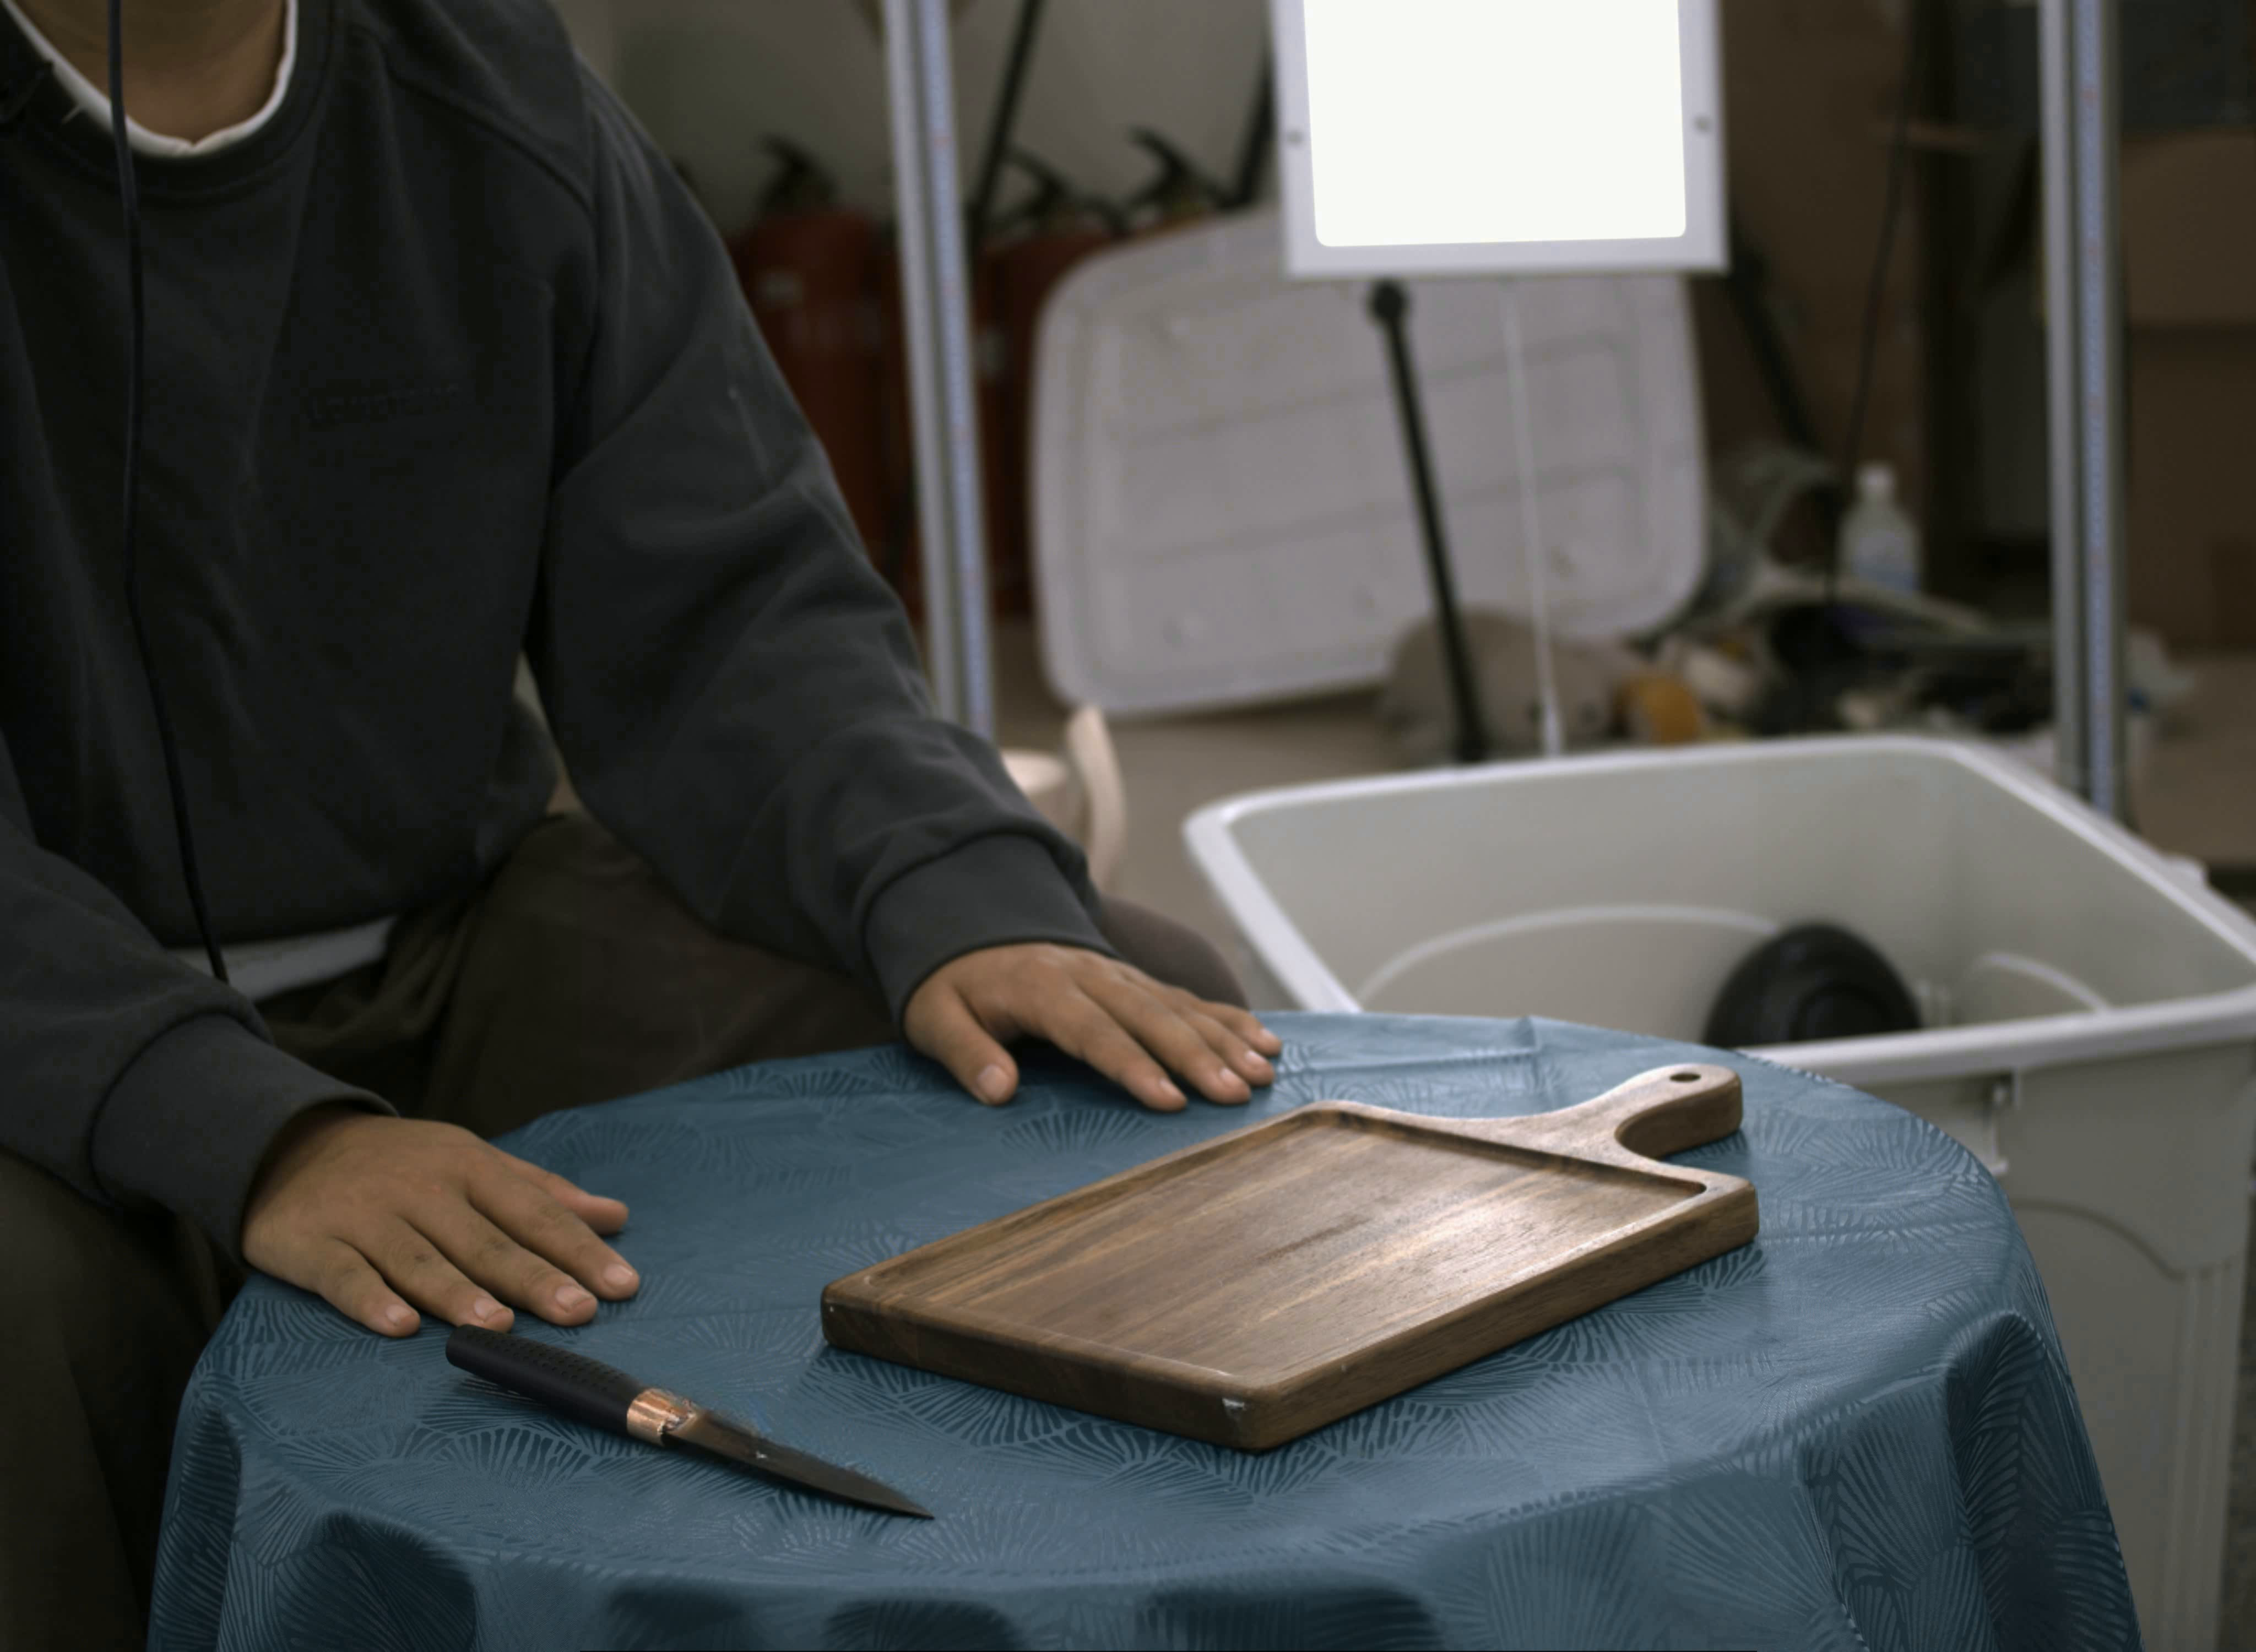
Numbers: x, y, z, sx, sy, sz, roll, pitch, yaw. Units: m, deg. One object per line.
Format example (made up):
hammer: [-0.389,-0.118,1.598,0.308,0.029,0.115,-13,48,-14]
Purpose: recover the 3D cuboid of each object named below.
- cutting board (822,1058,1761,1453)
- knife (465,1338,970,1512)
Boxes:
cutting board: [0.089,0.130,1.809,0.343,0.023,0.205,-18,18,-42]
knife: [-0.128,0.184,1.685,0.025,0.017,0.230,-9,14,-42]
